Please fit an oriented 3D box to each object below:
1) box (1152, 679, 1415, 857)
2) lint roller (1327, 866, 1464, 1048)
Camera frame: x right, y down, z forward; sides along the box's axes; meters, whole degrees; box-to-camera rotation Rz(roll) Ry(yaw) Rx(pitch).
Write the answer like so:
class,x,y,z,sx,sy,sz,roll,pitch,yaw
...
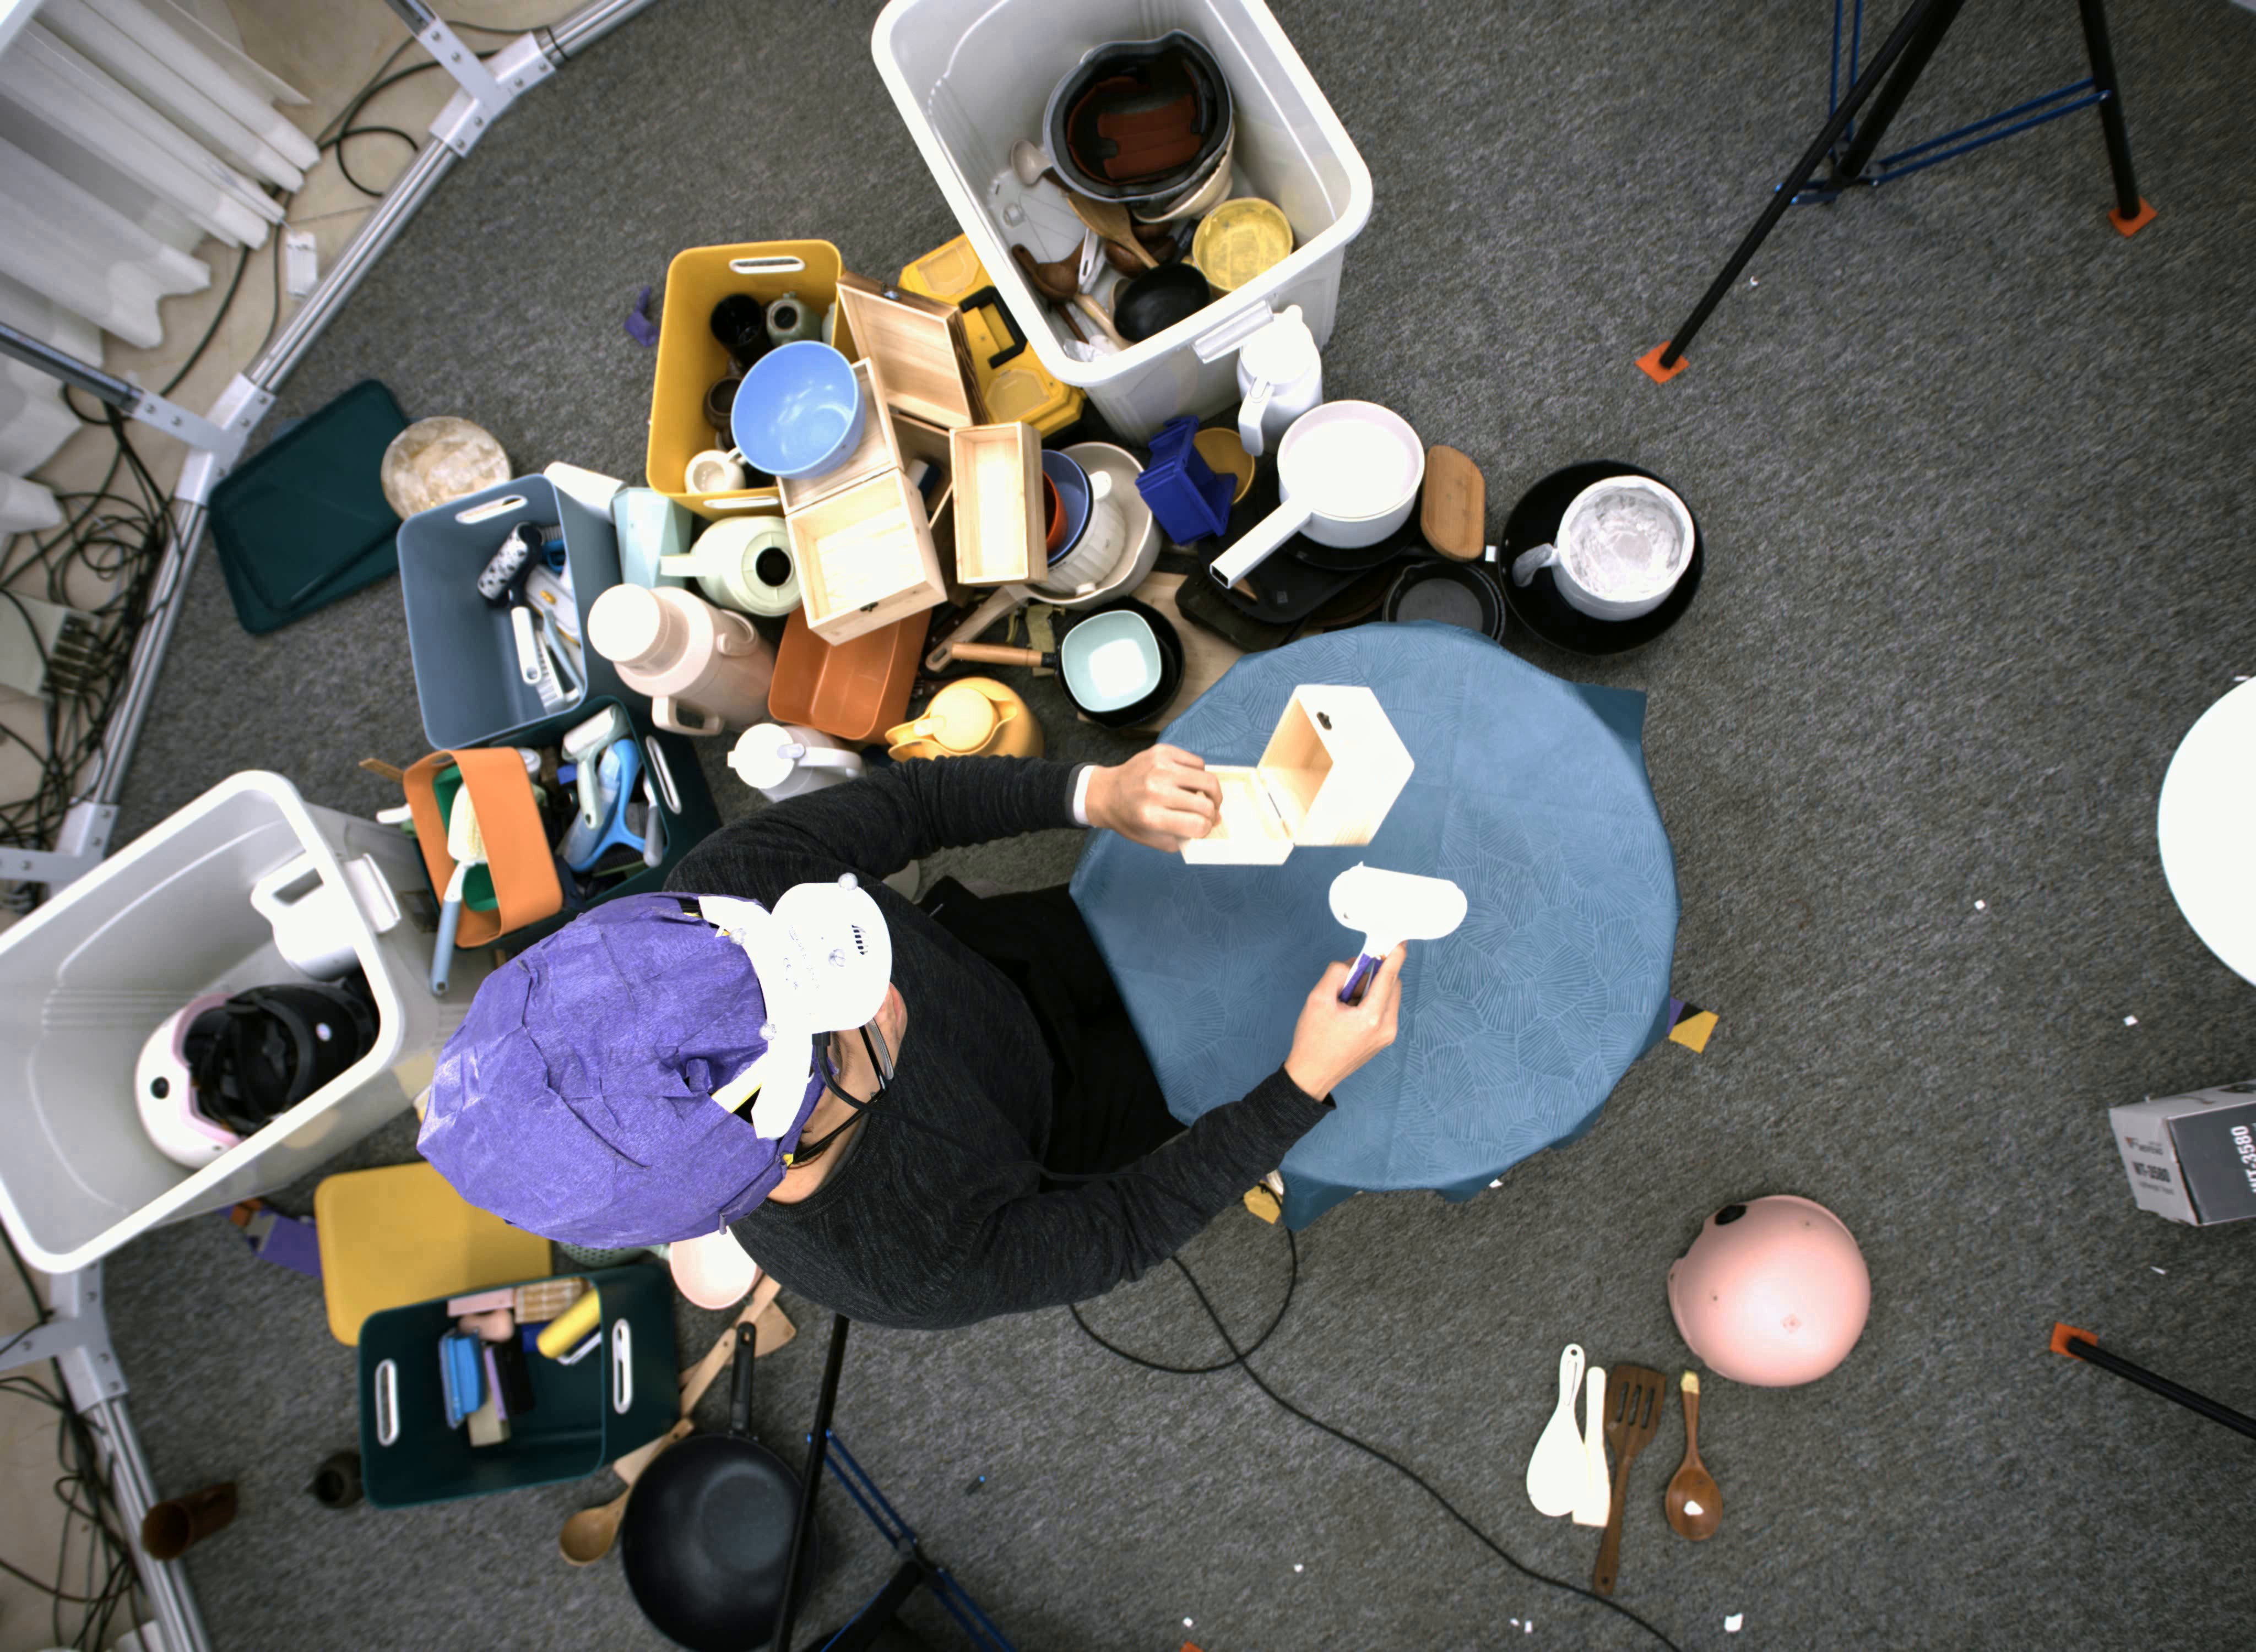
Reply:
class,x,y,z,sx,sy,sz,roll,pitch,yaw
box,0.134,-0.053,1.219,0.183,0.137,0.100,-1,48,-22
lint roller,0.220,0.125,1.243,0.133,0.049,0.183,10,106,-25
